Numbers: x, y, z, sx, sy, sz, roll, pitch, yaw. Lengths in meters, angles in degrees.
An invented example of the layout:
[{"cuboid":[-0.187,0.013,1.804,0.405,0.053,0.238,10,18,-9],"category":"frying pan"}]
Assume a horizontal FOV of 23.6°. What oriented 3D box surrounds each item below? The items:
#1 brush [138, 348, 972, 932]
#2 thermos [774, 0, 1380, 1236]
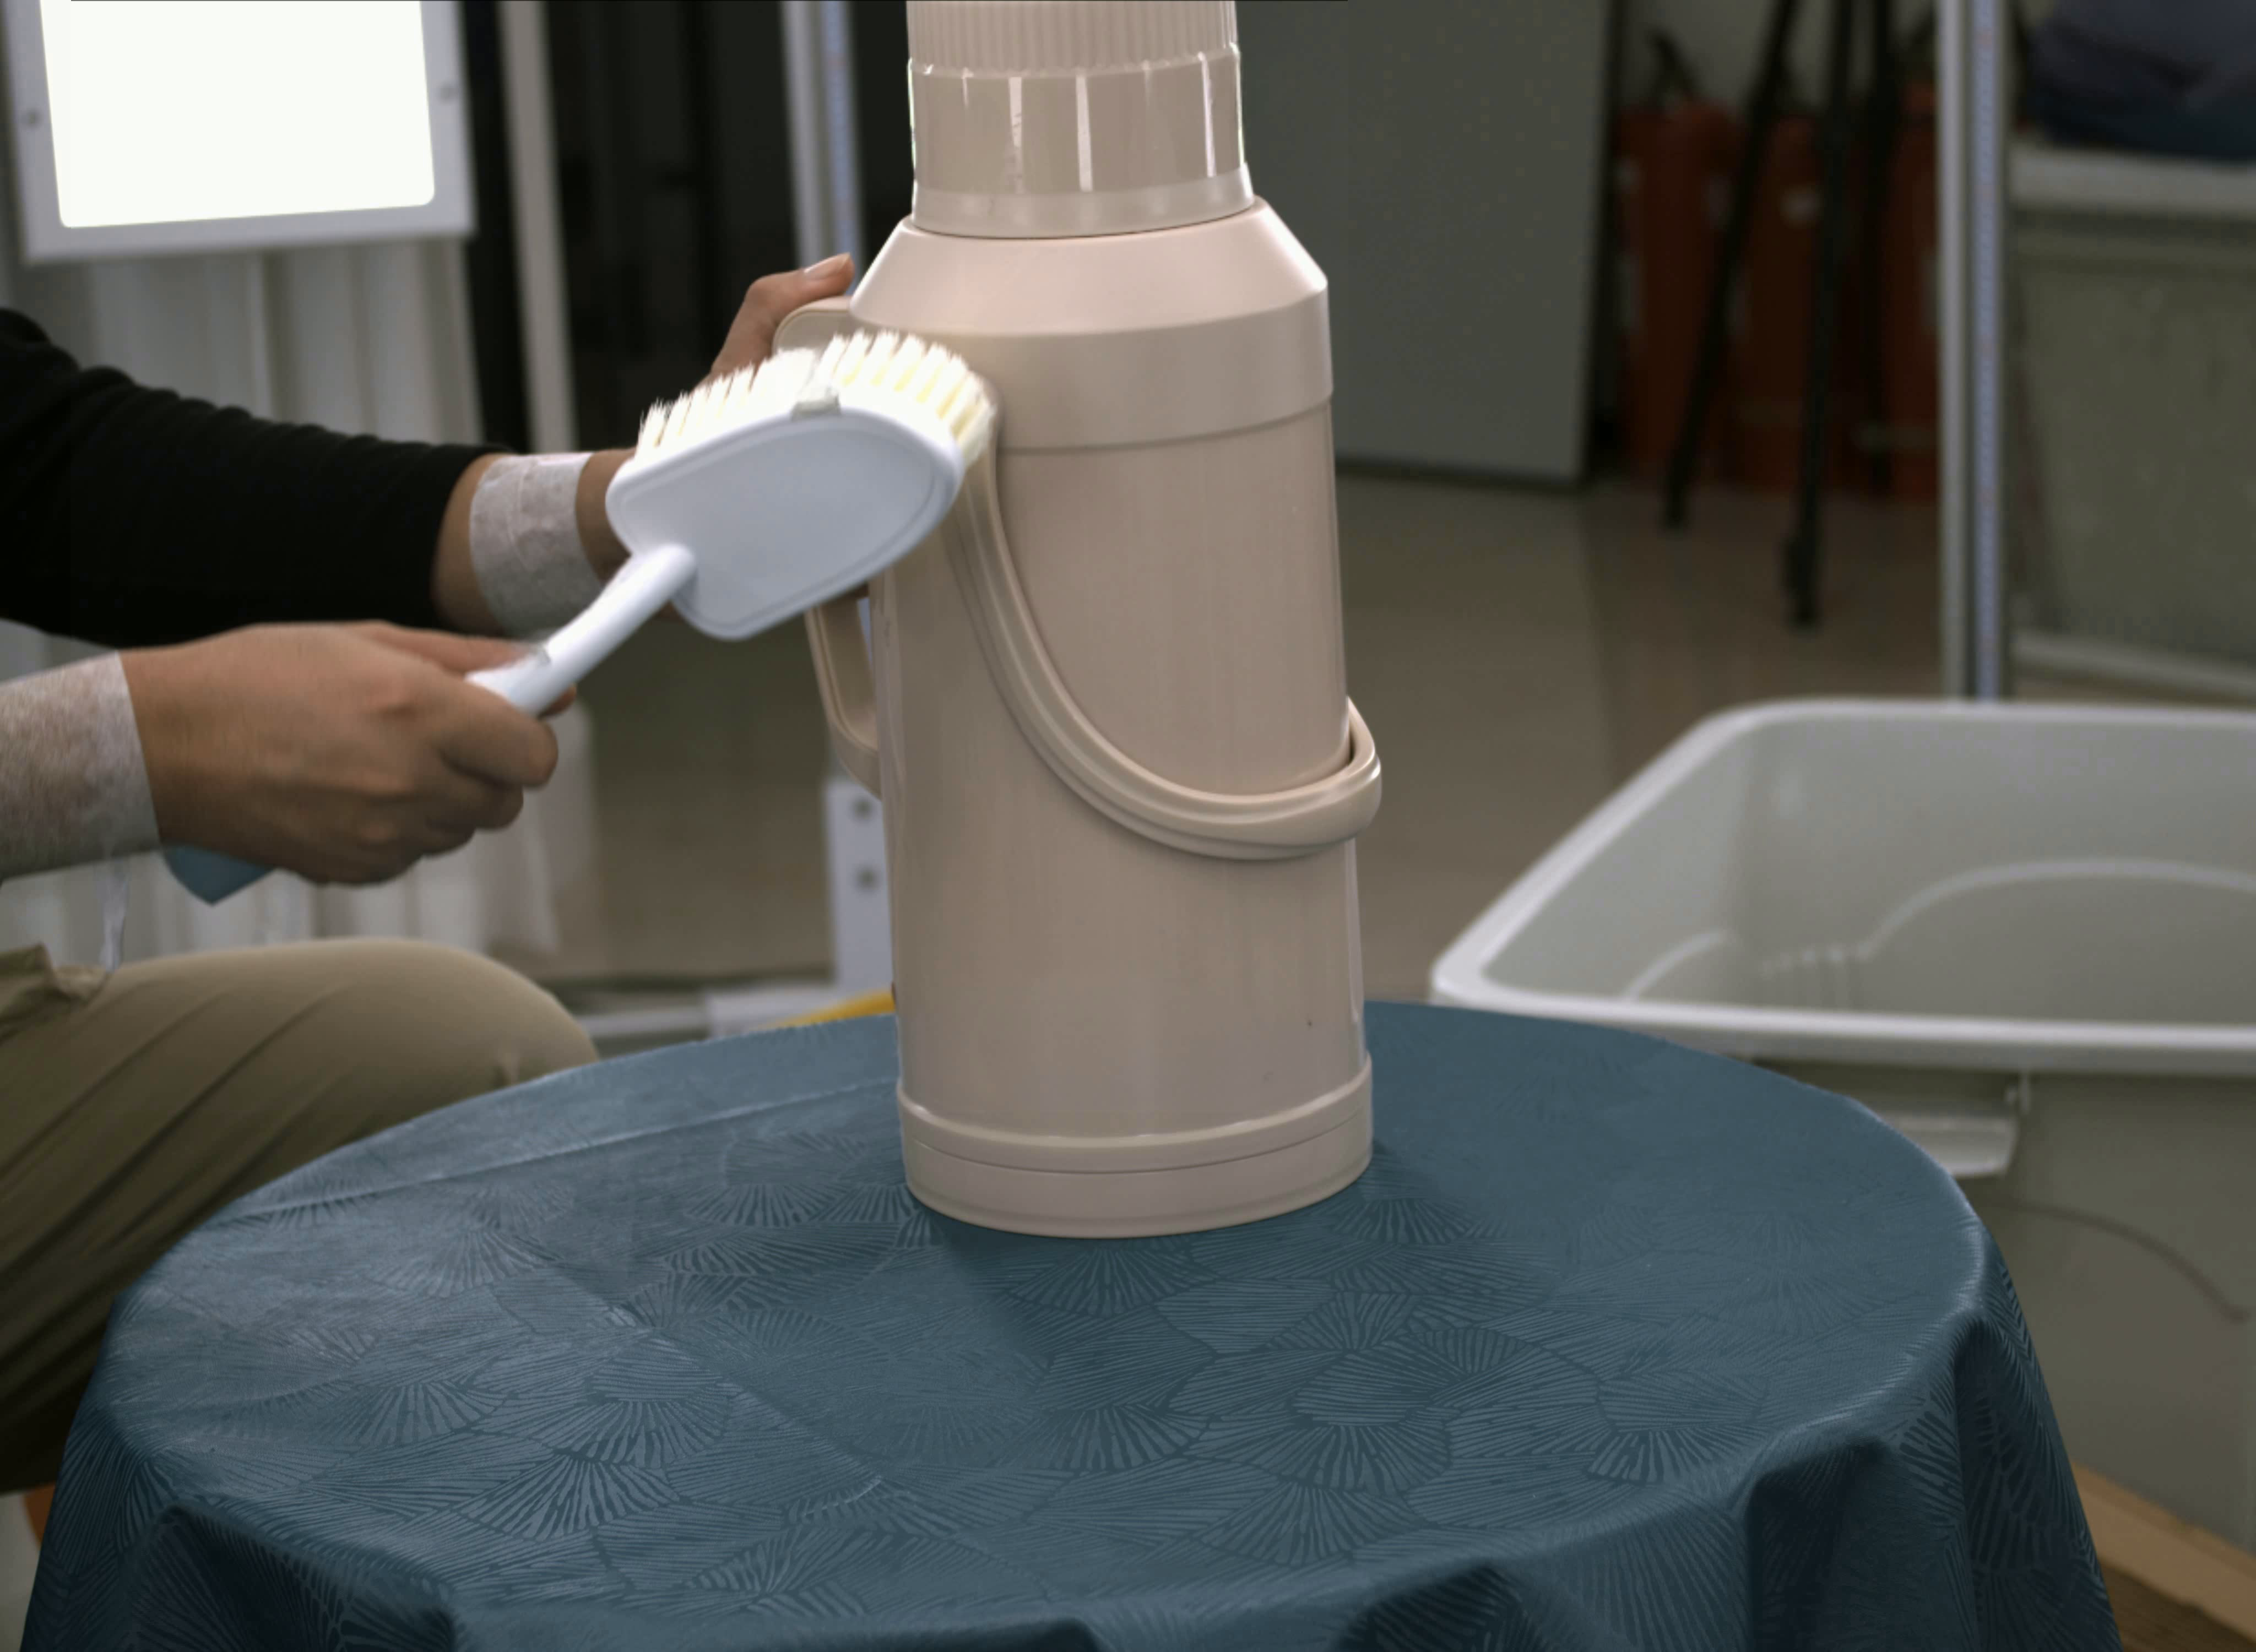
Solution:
[{"cuboid":[-0.182,-0.064,1.695,0.327,0.084,0.083,-28,-15,26],"category":"brush"},{"cuboid":[-0.019,-0.082,1.764,0.208,0.410,0.173,5,17,30],"category":"thermos"}]
